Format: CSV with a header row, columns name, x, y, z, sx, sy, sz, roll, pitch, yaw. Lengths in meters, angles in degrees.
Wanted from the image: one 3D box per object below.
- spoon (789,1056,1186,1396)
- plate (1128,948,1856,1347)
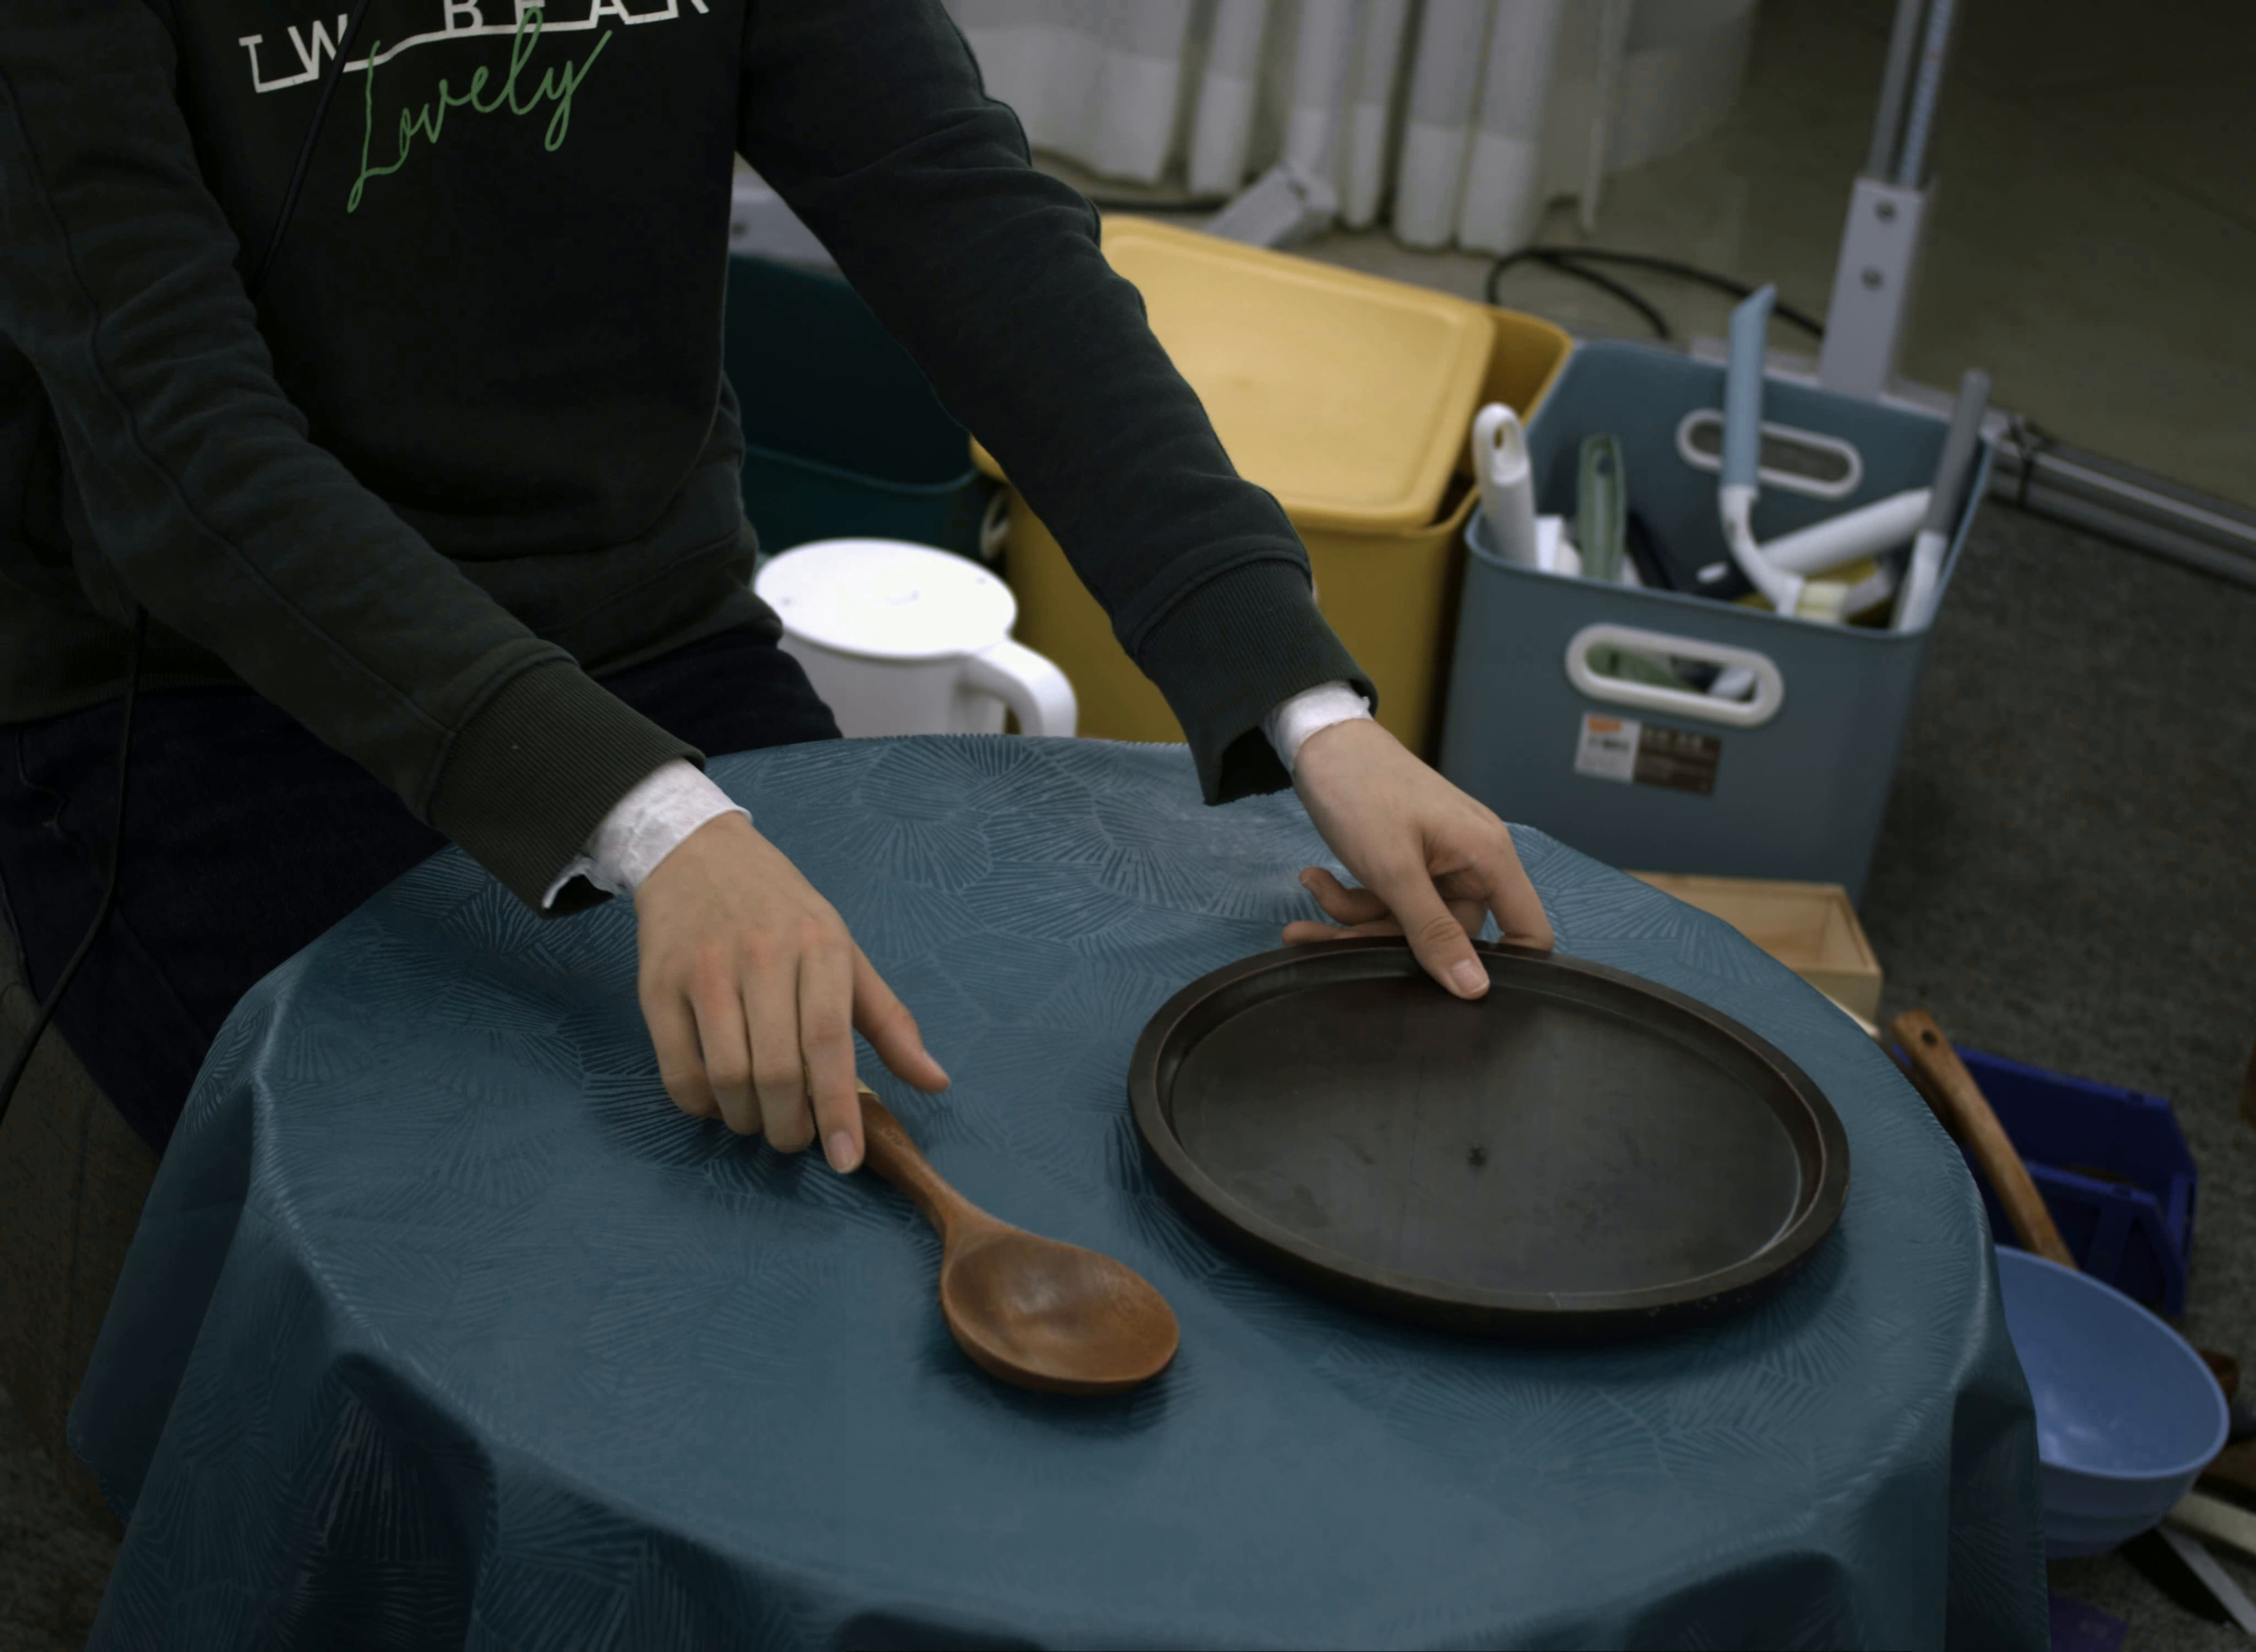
name,x,y,z,sx,sy,sz,roll,pitch,yaw
spoon,-0.054,0.132,1.752,0.075,0.017,0.218,-10,31,-29
plate,0.124,0.108,1.835,0.254,0.029,0.256,6,27,-4
